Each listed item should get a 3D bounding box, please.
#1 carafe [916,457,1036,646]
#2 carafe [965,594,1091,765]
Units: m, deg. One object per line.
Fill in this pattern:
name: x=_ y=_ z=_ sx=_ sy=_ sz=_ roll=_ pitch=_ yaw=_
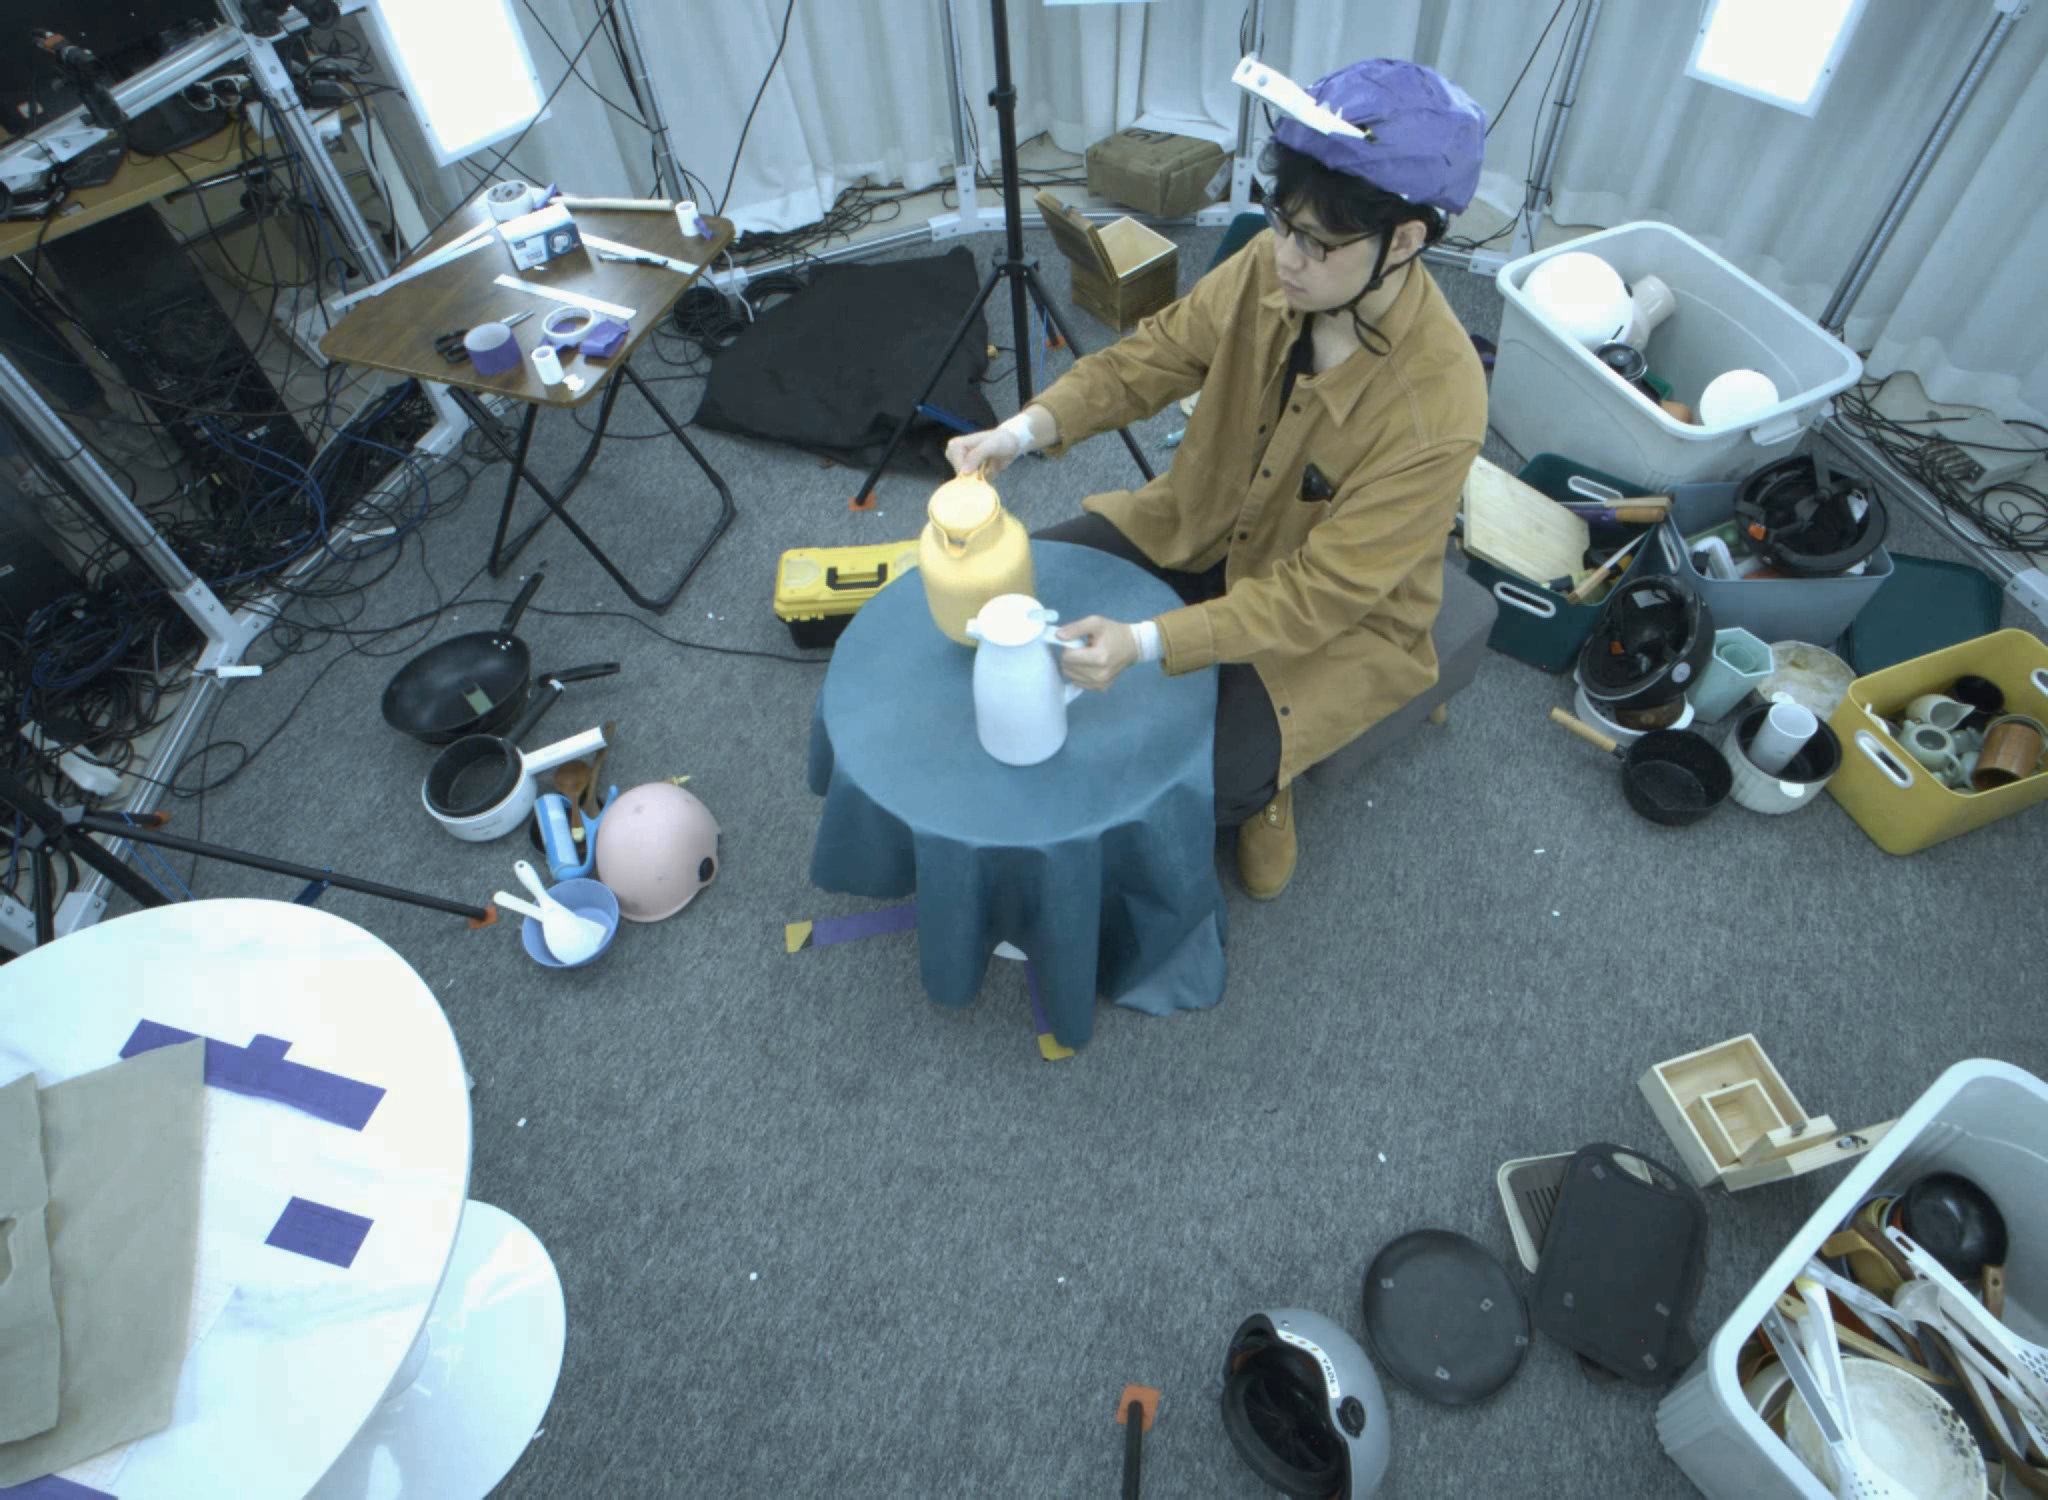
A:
carafe: x=-0.067 y=-0.290 z=1.748 sx=0.163 sy=0.263 sz=0.201 roll=6 pitch=63 yaw=7
carafe: x=0.009 y=-0.103 z=1.703 sx=0.167 sy=0.251 sz=0.131 roll=1 pitch=54 yaw=3
